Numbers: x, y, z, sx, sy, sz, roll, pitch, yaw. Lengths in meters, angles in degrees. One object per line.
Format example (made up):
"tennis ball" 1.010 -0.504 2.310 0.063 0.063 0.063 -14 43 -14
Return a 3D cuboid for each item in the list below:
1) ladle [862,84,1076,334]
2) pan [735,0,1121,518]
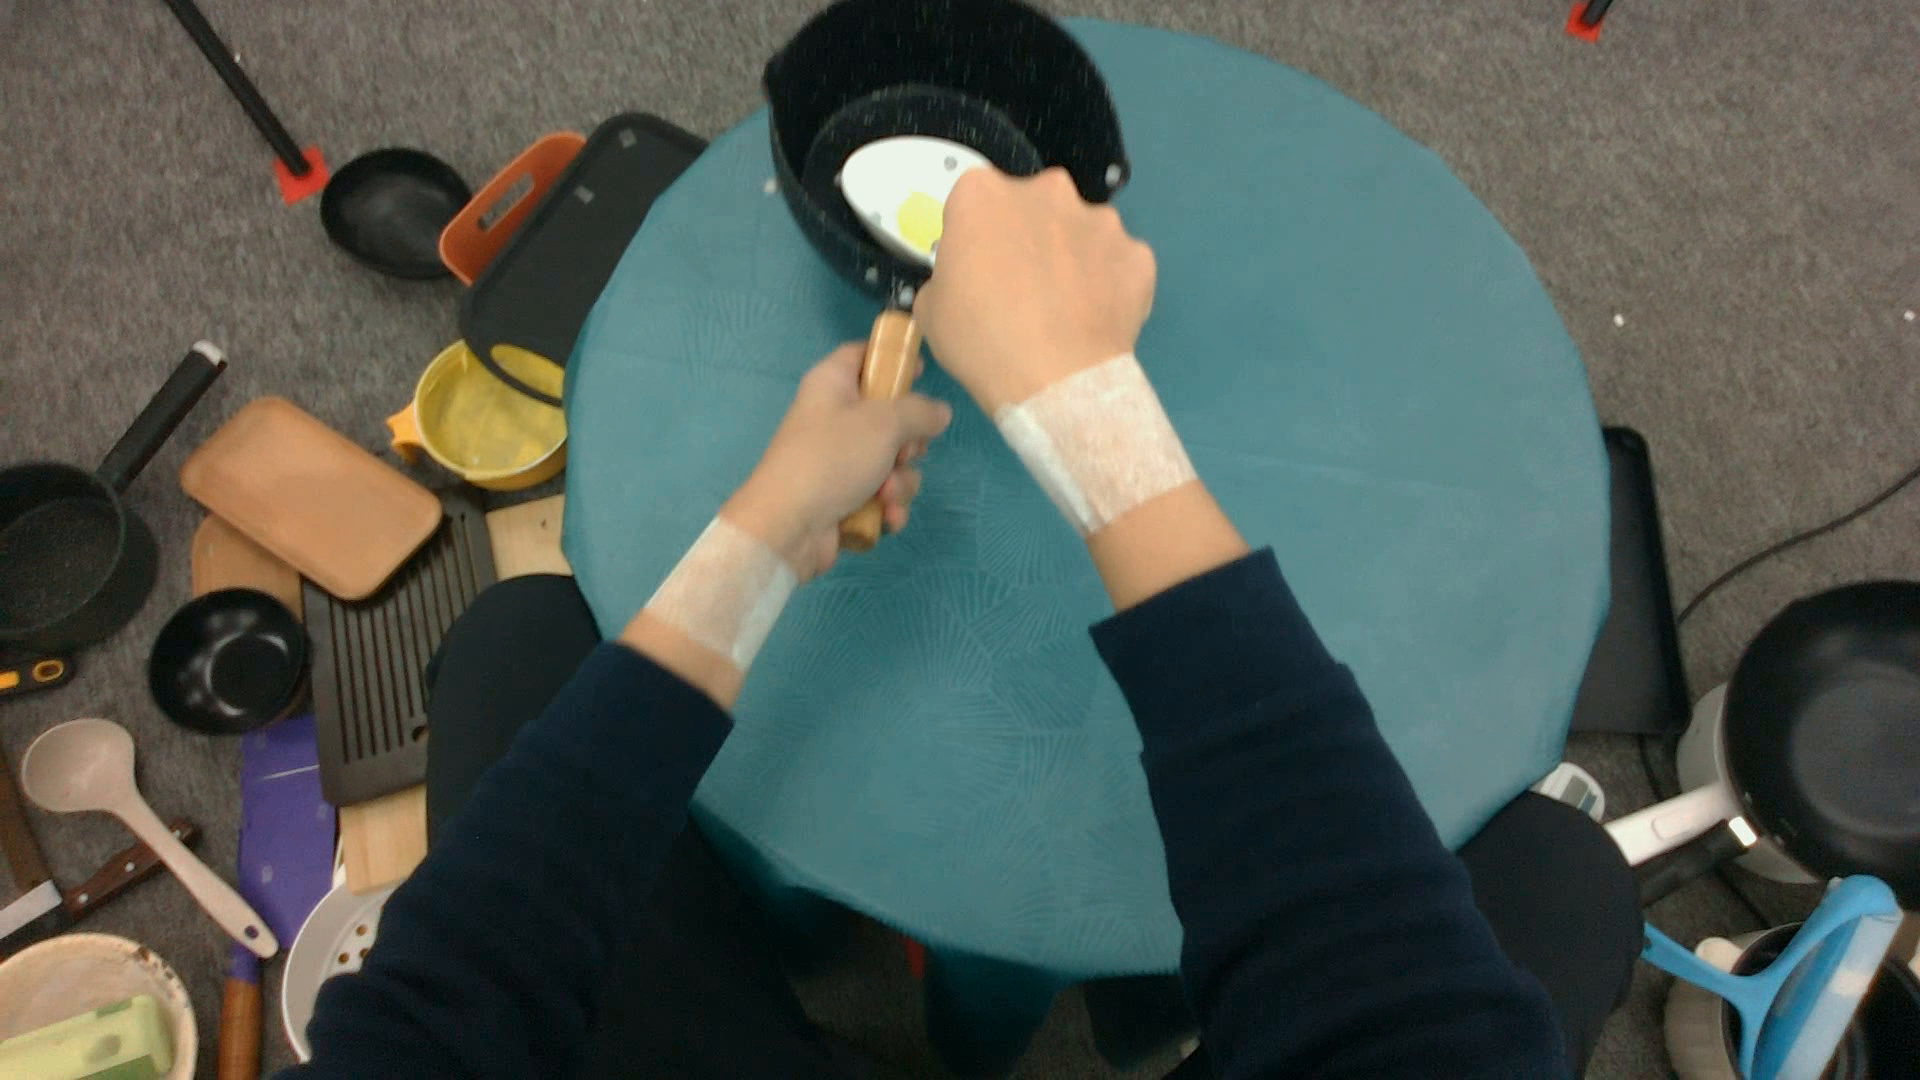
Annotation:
"ladle" 0.008 -0.166 0.655 0.090 0.293 0.070 11 109 -15
"pan" -0.030 -0.158 0.717 0.207 0.108 0.344 11 71 -7
